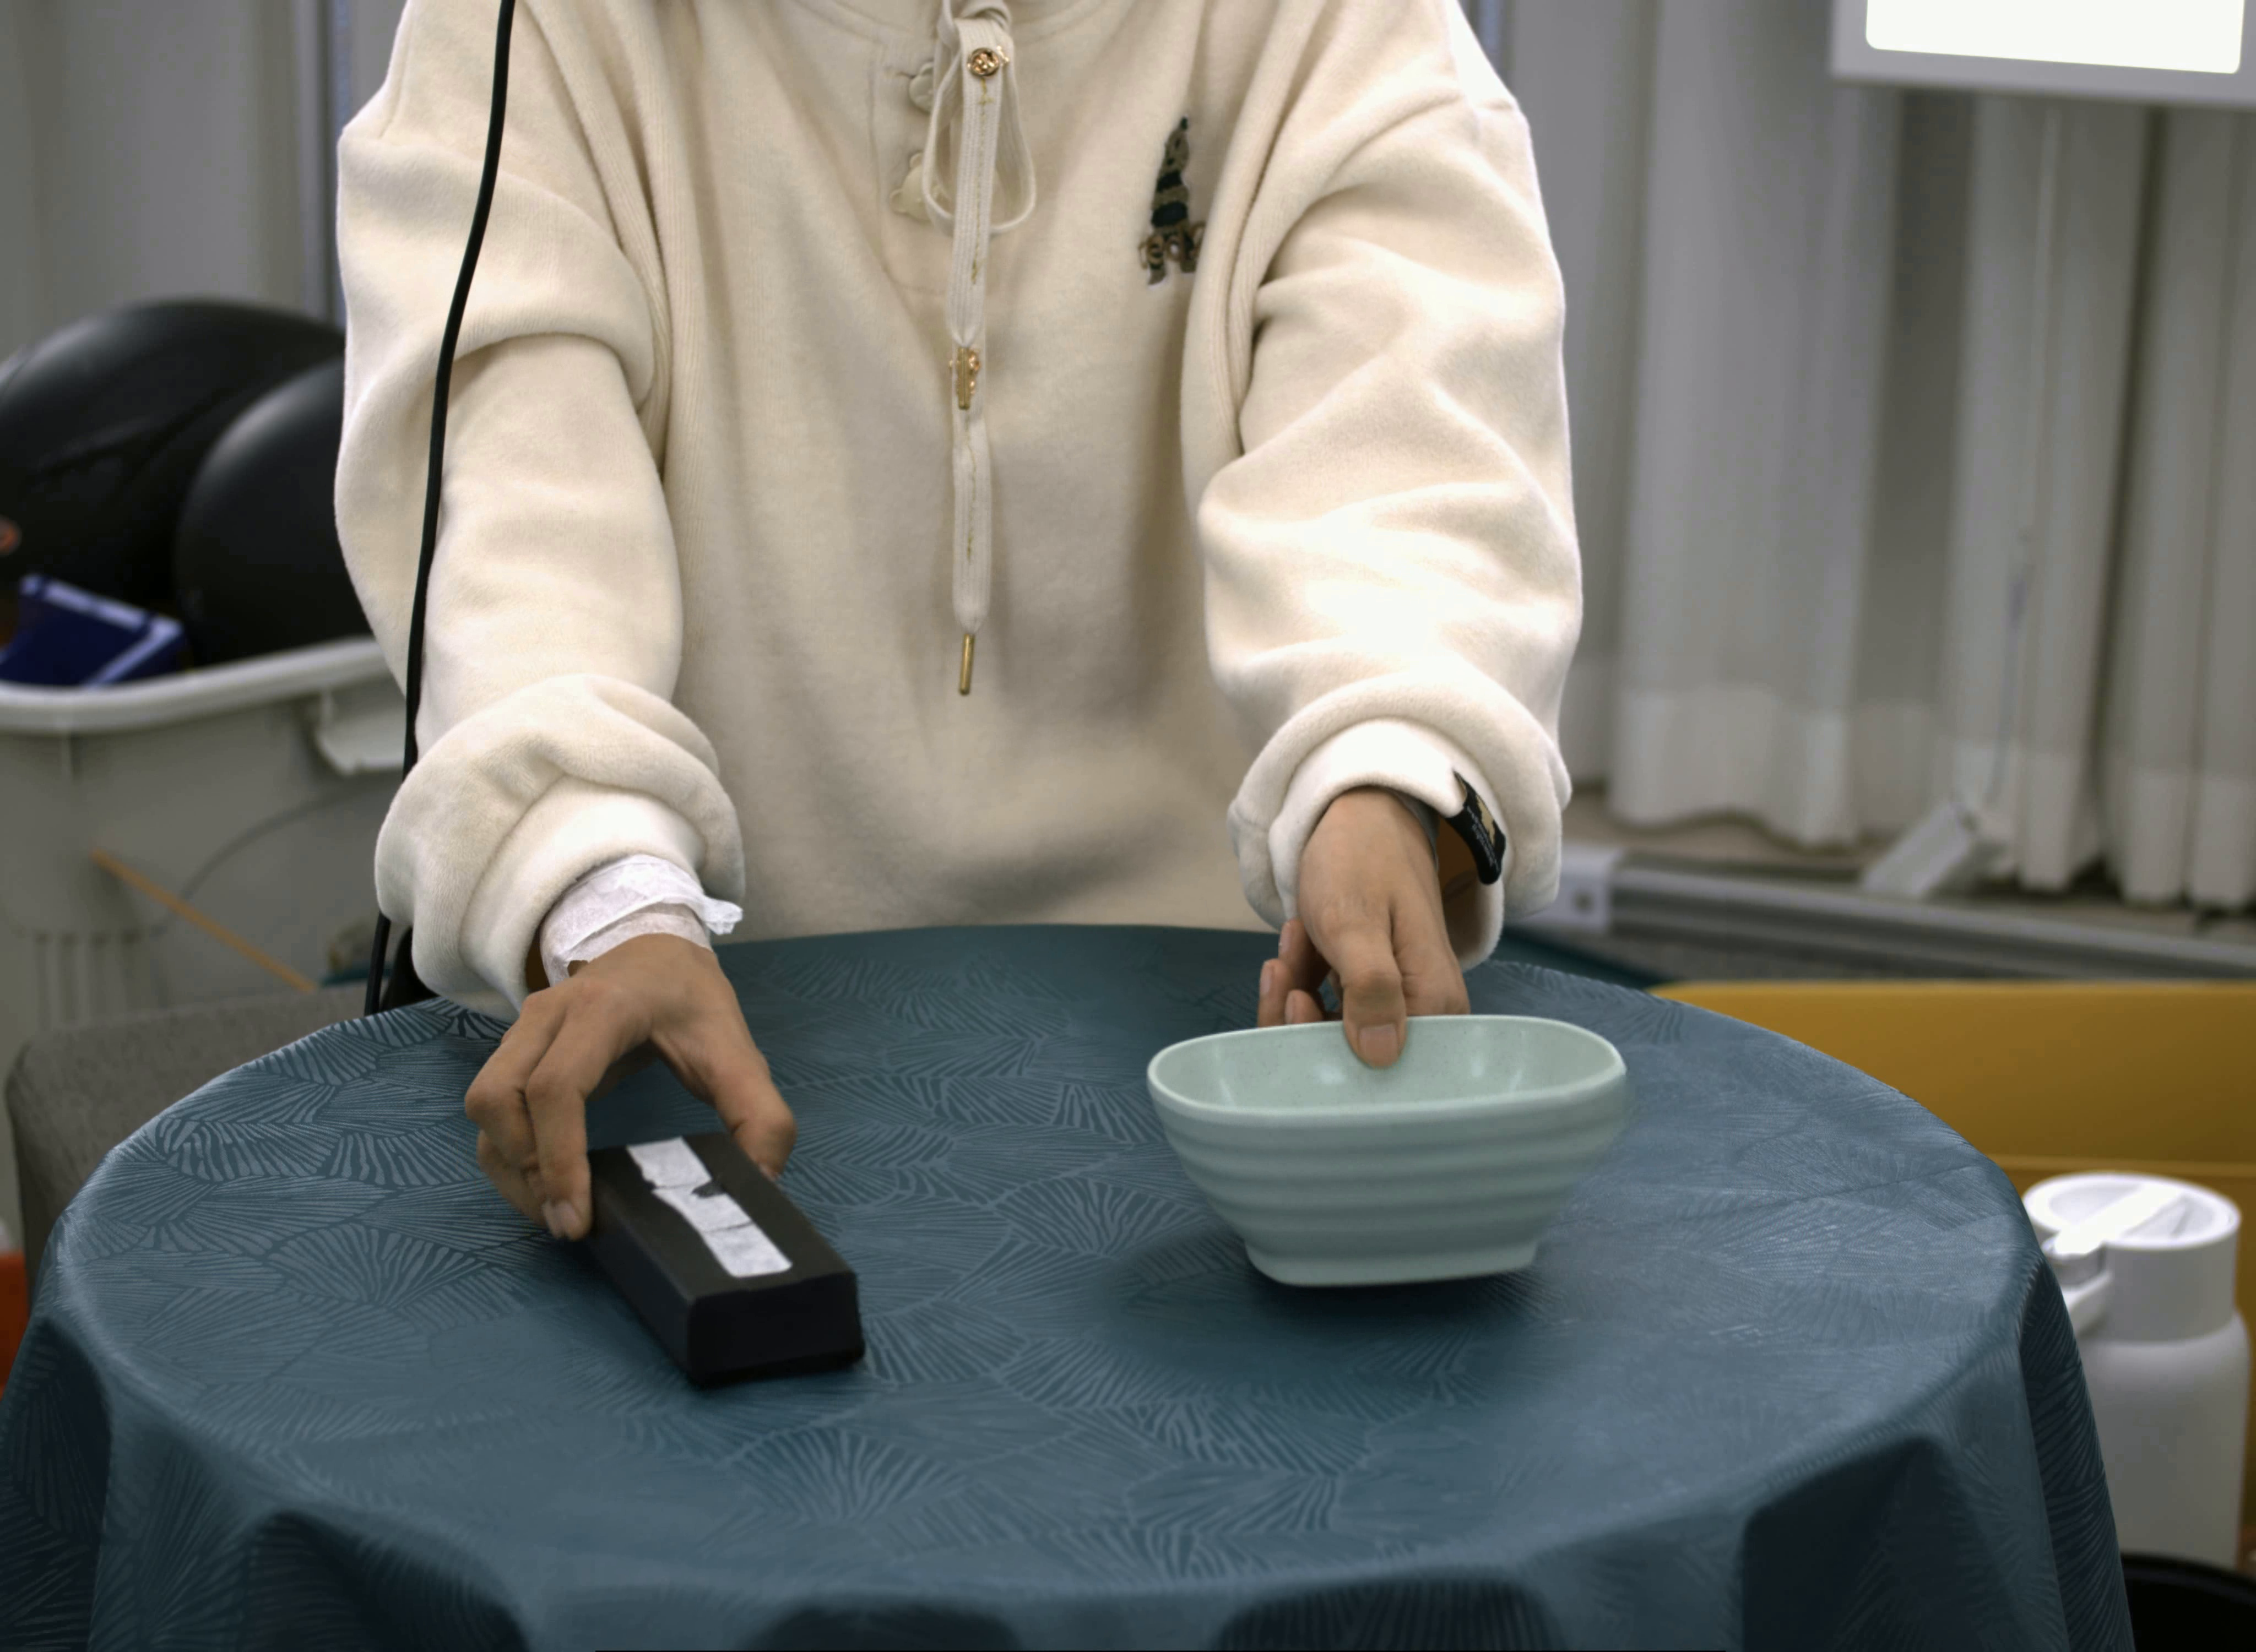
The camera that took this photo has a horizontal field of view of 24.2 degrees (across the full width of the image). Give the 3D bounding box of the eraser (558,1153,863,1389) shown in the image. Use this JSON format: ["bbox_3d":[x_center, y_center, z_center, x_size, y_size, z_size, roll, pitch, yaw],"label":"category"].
[{"bbox_3d":[-0.120,0.126,1.511,0.053,0.031,0.124,-7,16,-22],"label":"eraser"}]

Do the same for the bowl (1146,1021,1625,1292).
[{"bbox_3d":[0.075,0.099,1.546,0.151,0.059,0.151,0,9,0],"label":"bowl"}]
